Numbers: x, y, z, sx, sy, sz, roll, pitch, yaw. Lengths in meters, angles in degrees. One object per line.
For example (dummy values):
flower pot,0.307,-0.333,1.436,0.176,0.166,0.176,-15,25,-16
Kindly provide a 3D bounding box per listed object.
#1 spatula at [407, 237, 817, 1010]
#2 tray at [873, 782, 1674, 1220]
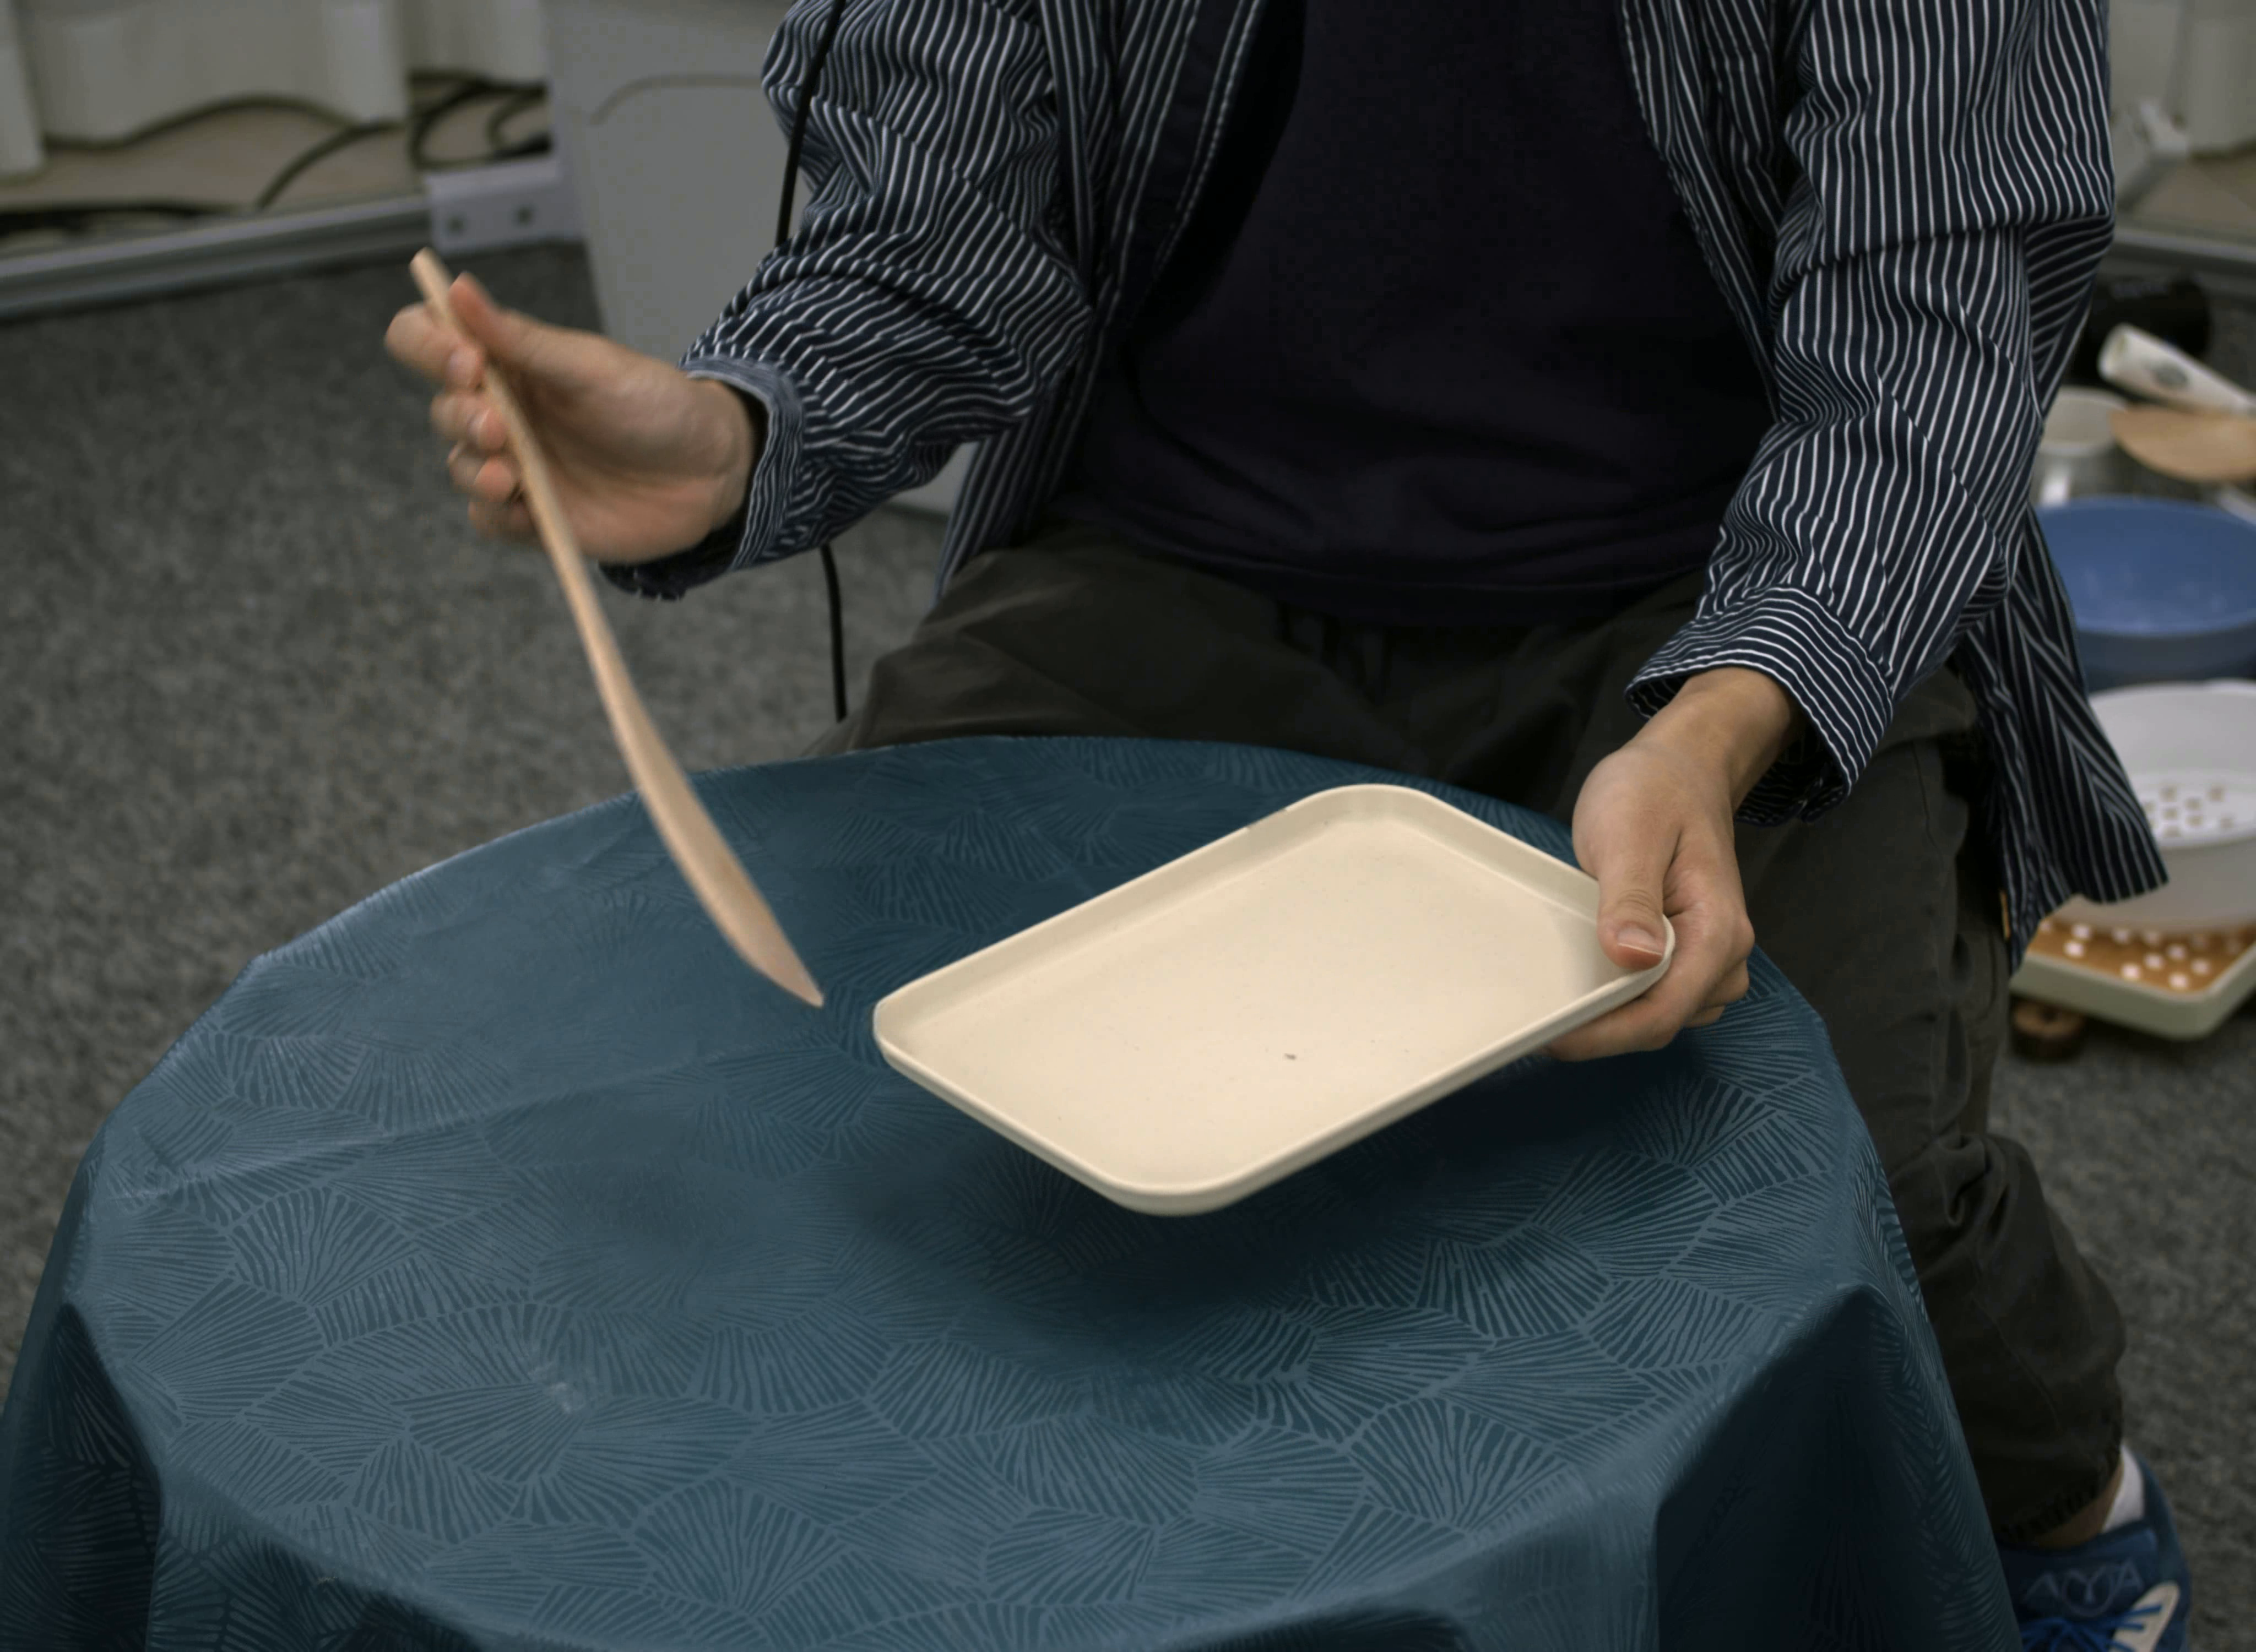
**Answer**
spatula,-0.177,-0.071,1.883,0.016,0.079,0.332,-30,63,7
tray,0.049,0.056,1.847,0.242,0.017,0.171,-25,35,-33
